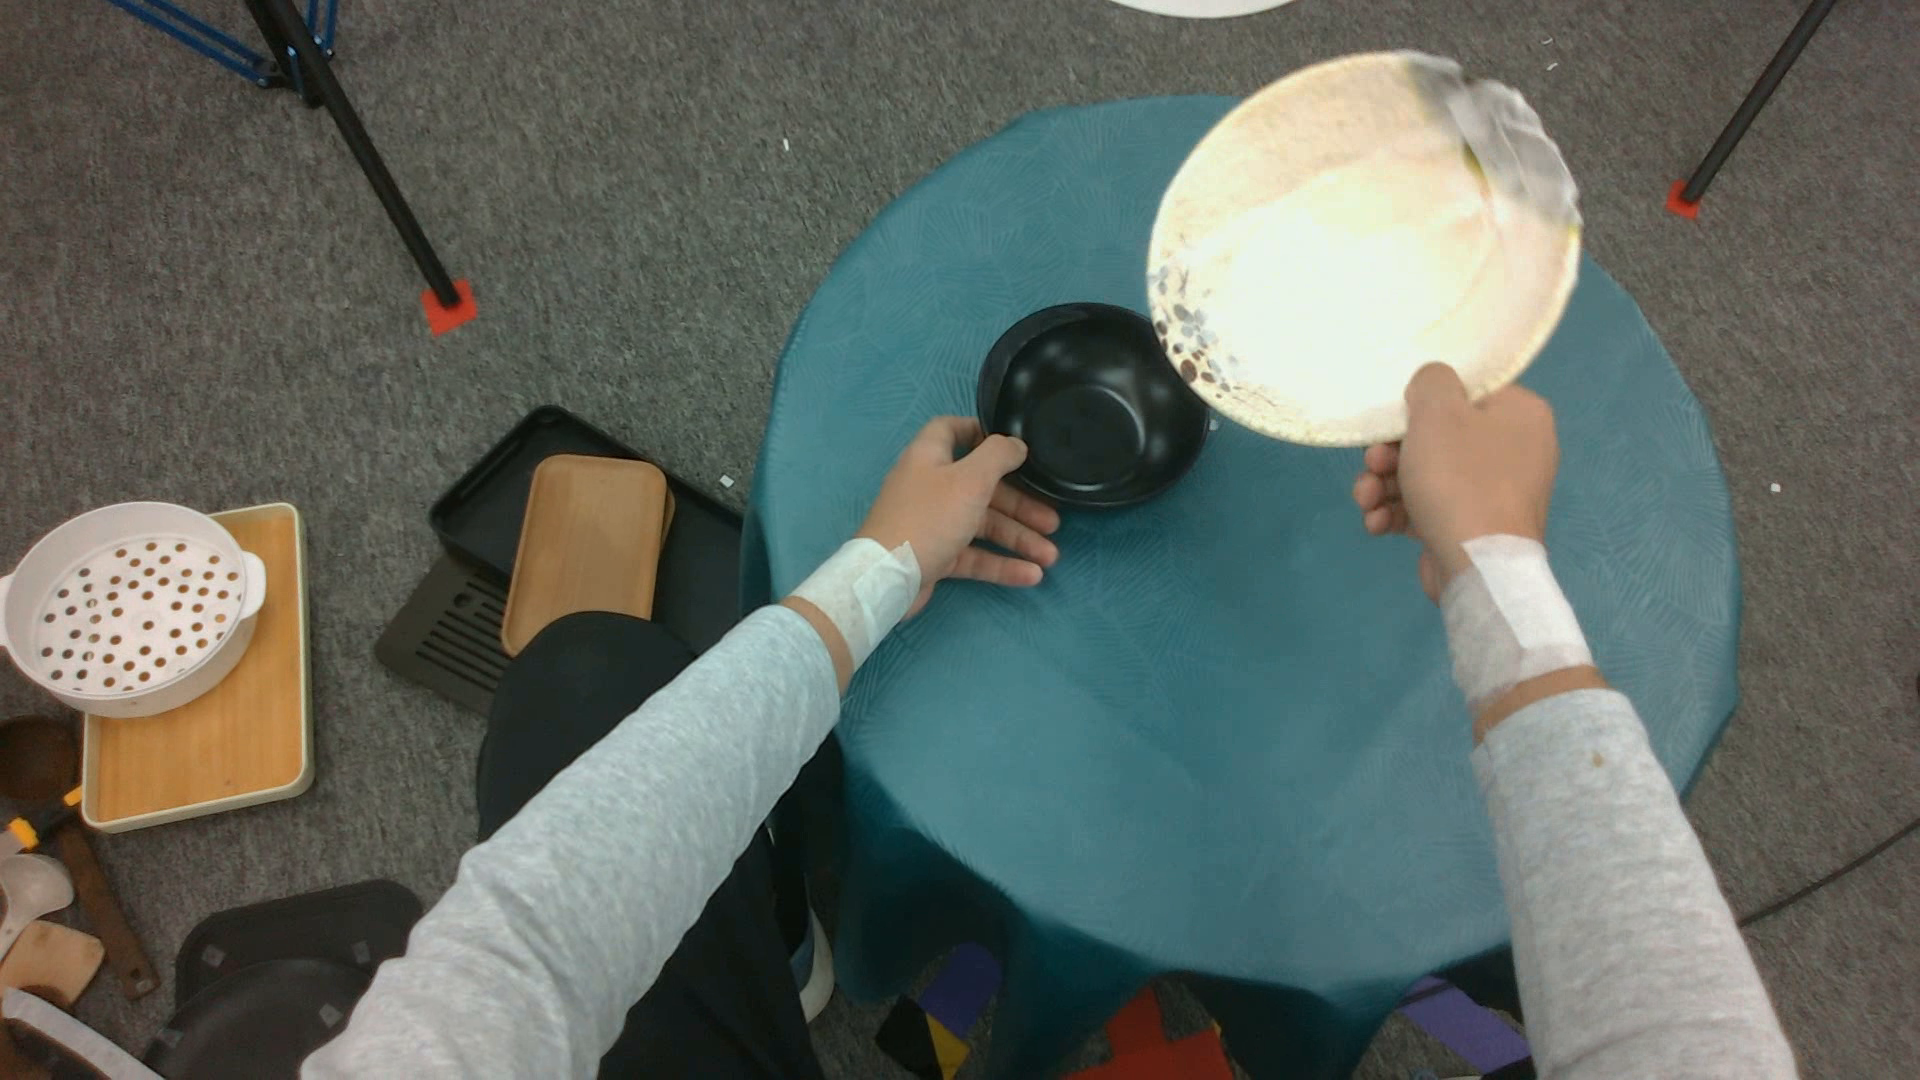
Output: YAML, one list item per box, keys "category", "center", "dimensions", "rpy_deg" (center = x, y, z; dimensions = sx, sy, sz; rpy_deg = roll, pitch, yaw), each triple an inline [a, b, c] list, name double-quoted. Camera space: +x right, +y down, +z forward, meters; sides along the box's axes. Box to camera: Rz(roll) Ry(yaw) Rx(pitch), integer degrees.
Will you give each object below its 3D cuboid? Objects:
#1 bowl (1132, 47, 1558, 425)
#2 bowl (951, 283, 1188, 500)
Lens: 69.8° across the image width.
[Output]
- category: "bowl"
  center: [0.197, -0.144, 0.710]
  dimensions: [0.203, 0.078, 0.204]
  rpy_deg: [-6, 72, 19]
- category: "bowl"
  center: [0.064, -0.083, 0.828]
  dimensions: [0.140, 0.049, 0.140]
  rpy_deg: [1, 70, -2]
